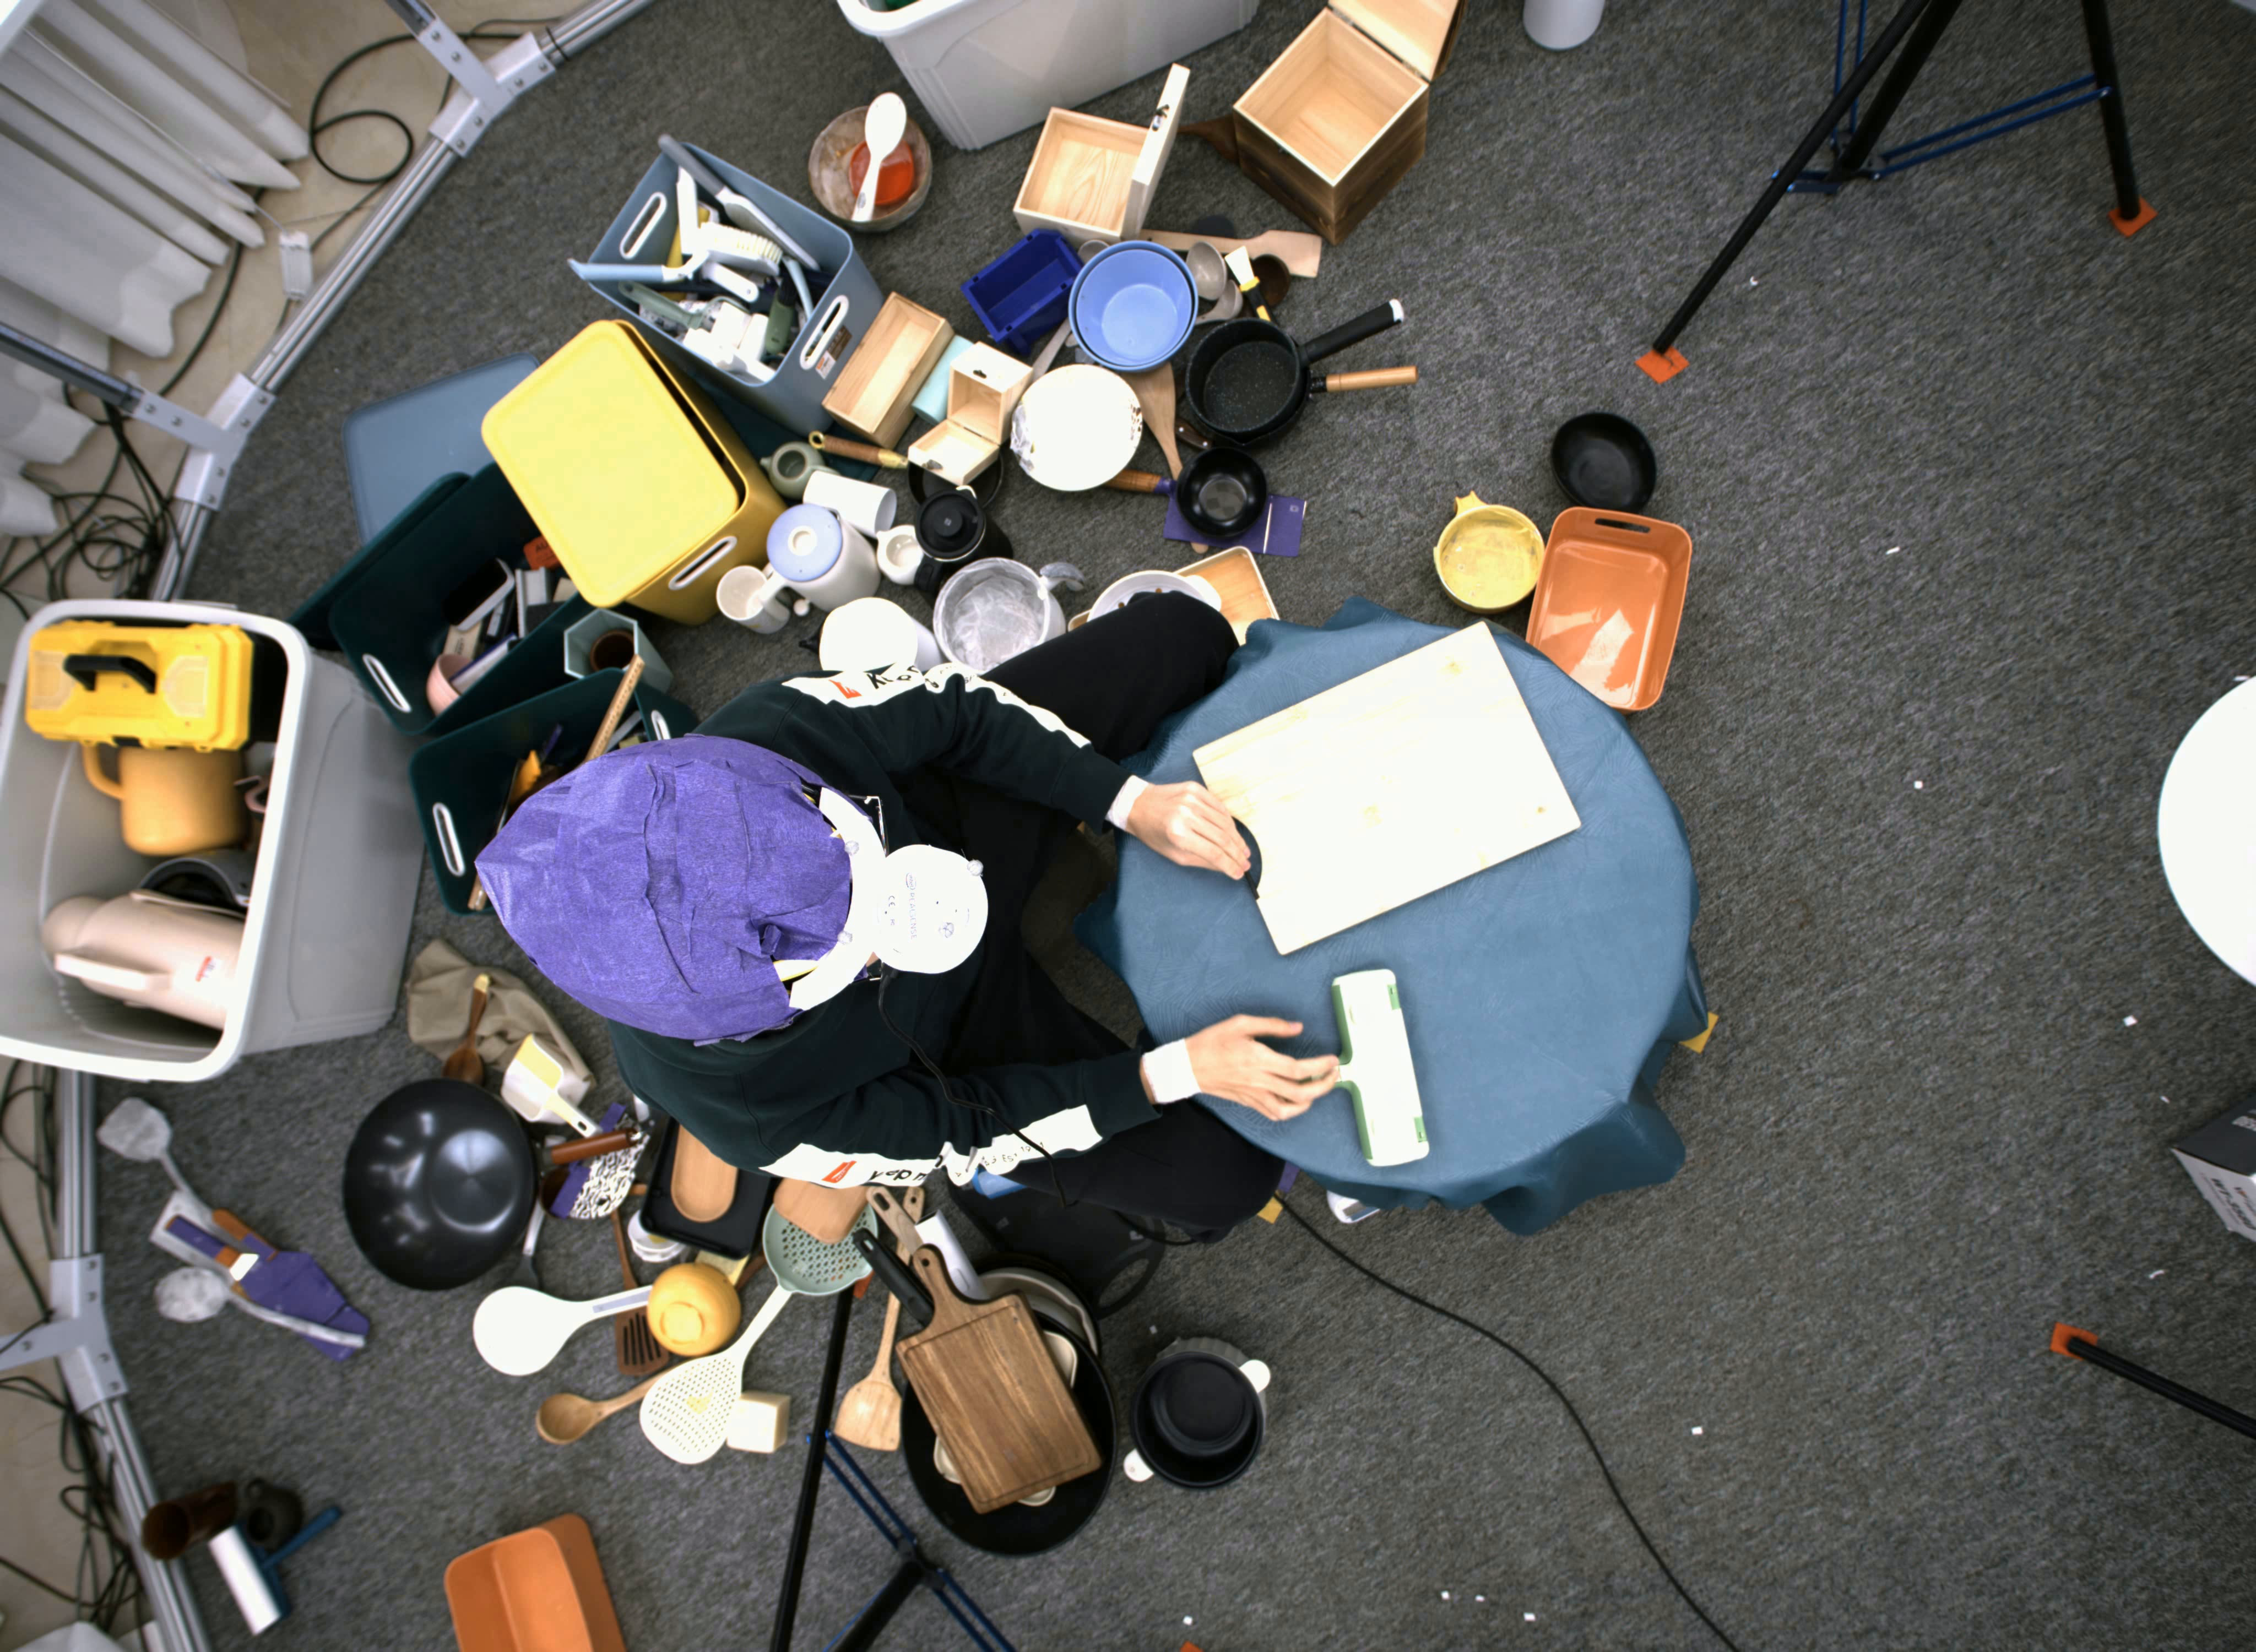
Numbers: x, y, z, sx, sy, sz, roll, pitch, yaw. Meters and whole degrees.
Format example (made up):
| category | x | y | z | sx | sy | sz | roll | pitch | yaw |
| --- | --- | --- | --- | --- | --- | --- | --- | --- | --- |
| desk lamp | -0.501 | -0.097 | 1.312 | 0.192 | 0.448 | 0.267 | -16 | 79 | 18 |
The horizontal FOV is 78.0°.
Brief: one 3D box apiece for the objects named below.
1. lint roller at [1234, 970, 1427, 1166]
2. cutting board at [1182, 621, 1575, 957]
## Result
| category | x | y | z | sx | sy | sz | roll | pitch | yaw |
| --- | --- | --- | --- | --- | --- | --- | --- | --- | --- |
| lint roller | 0.199 | 0.256 | 1.420 | 0.184 | 0.082 | 0.197 | -11 | 85 | 5 |
| cutting board | 0.263 | -0.040 | 1.454 | 0.350 | 0.023 | 0.249 | -25 | 83 | 8 |
